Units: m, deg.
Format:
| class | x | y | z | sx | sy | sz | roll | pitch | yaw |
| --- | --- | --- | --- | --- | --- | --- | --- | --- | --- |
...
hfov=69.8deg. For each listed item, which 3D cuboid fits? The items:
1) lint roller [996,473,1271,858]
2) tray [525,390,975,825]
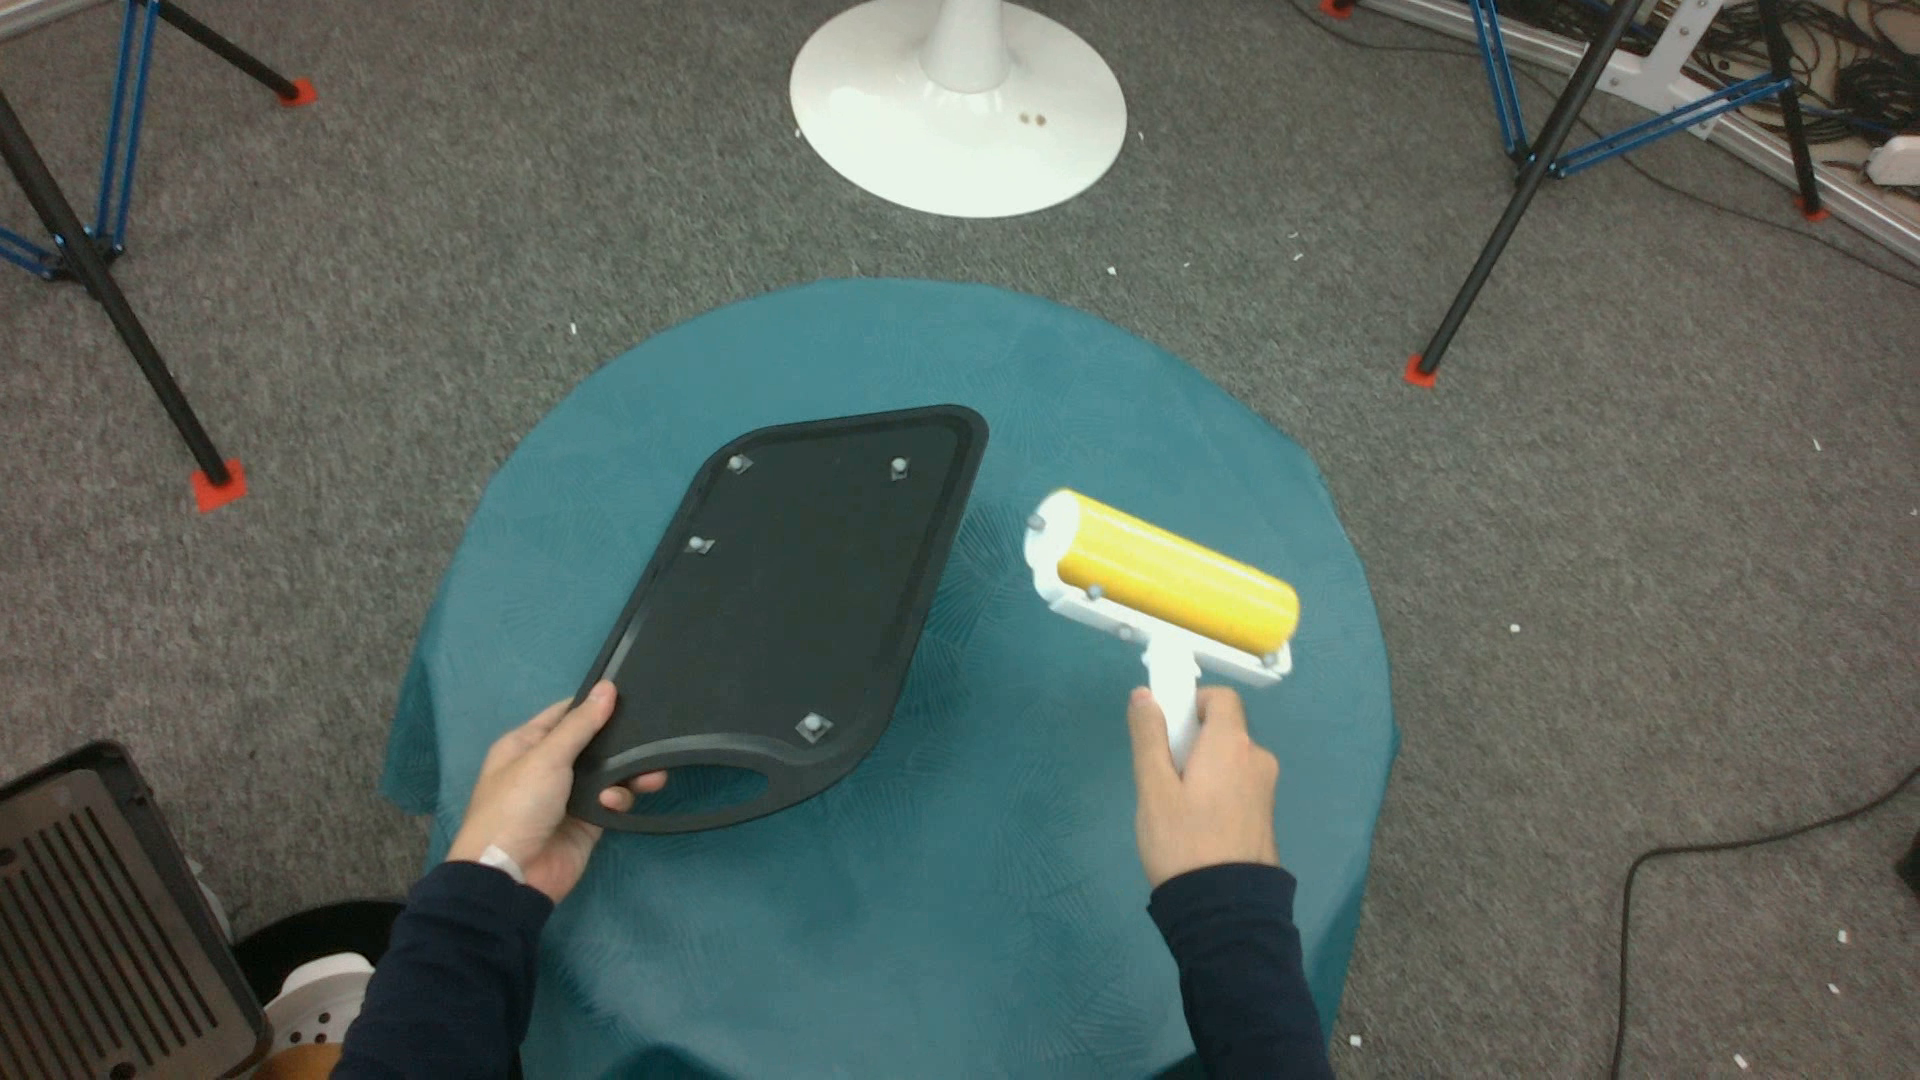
| class | x | y | z | sx | sy | sz | roll | pitch | yaw |
| --- | --- | --- | --- | --- | --- | --- | --- | --- | --- |
| lint roller | 0.107 | 0.066 | 0.708 | 0.174 | 0.051 | 0.193 | 20 | 41 | -31 |
| tray | -0.115 | 0.023 | 0.781 | 0.210 | 0.010 | 0.327 | -5 | 42 | 24 |
